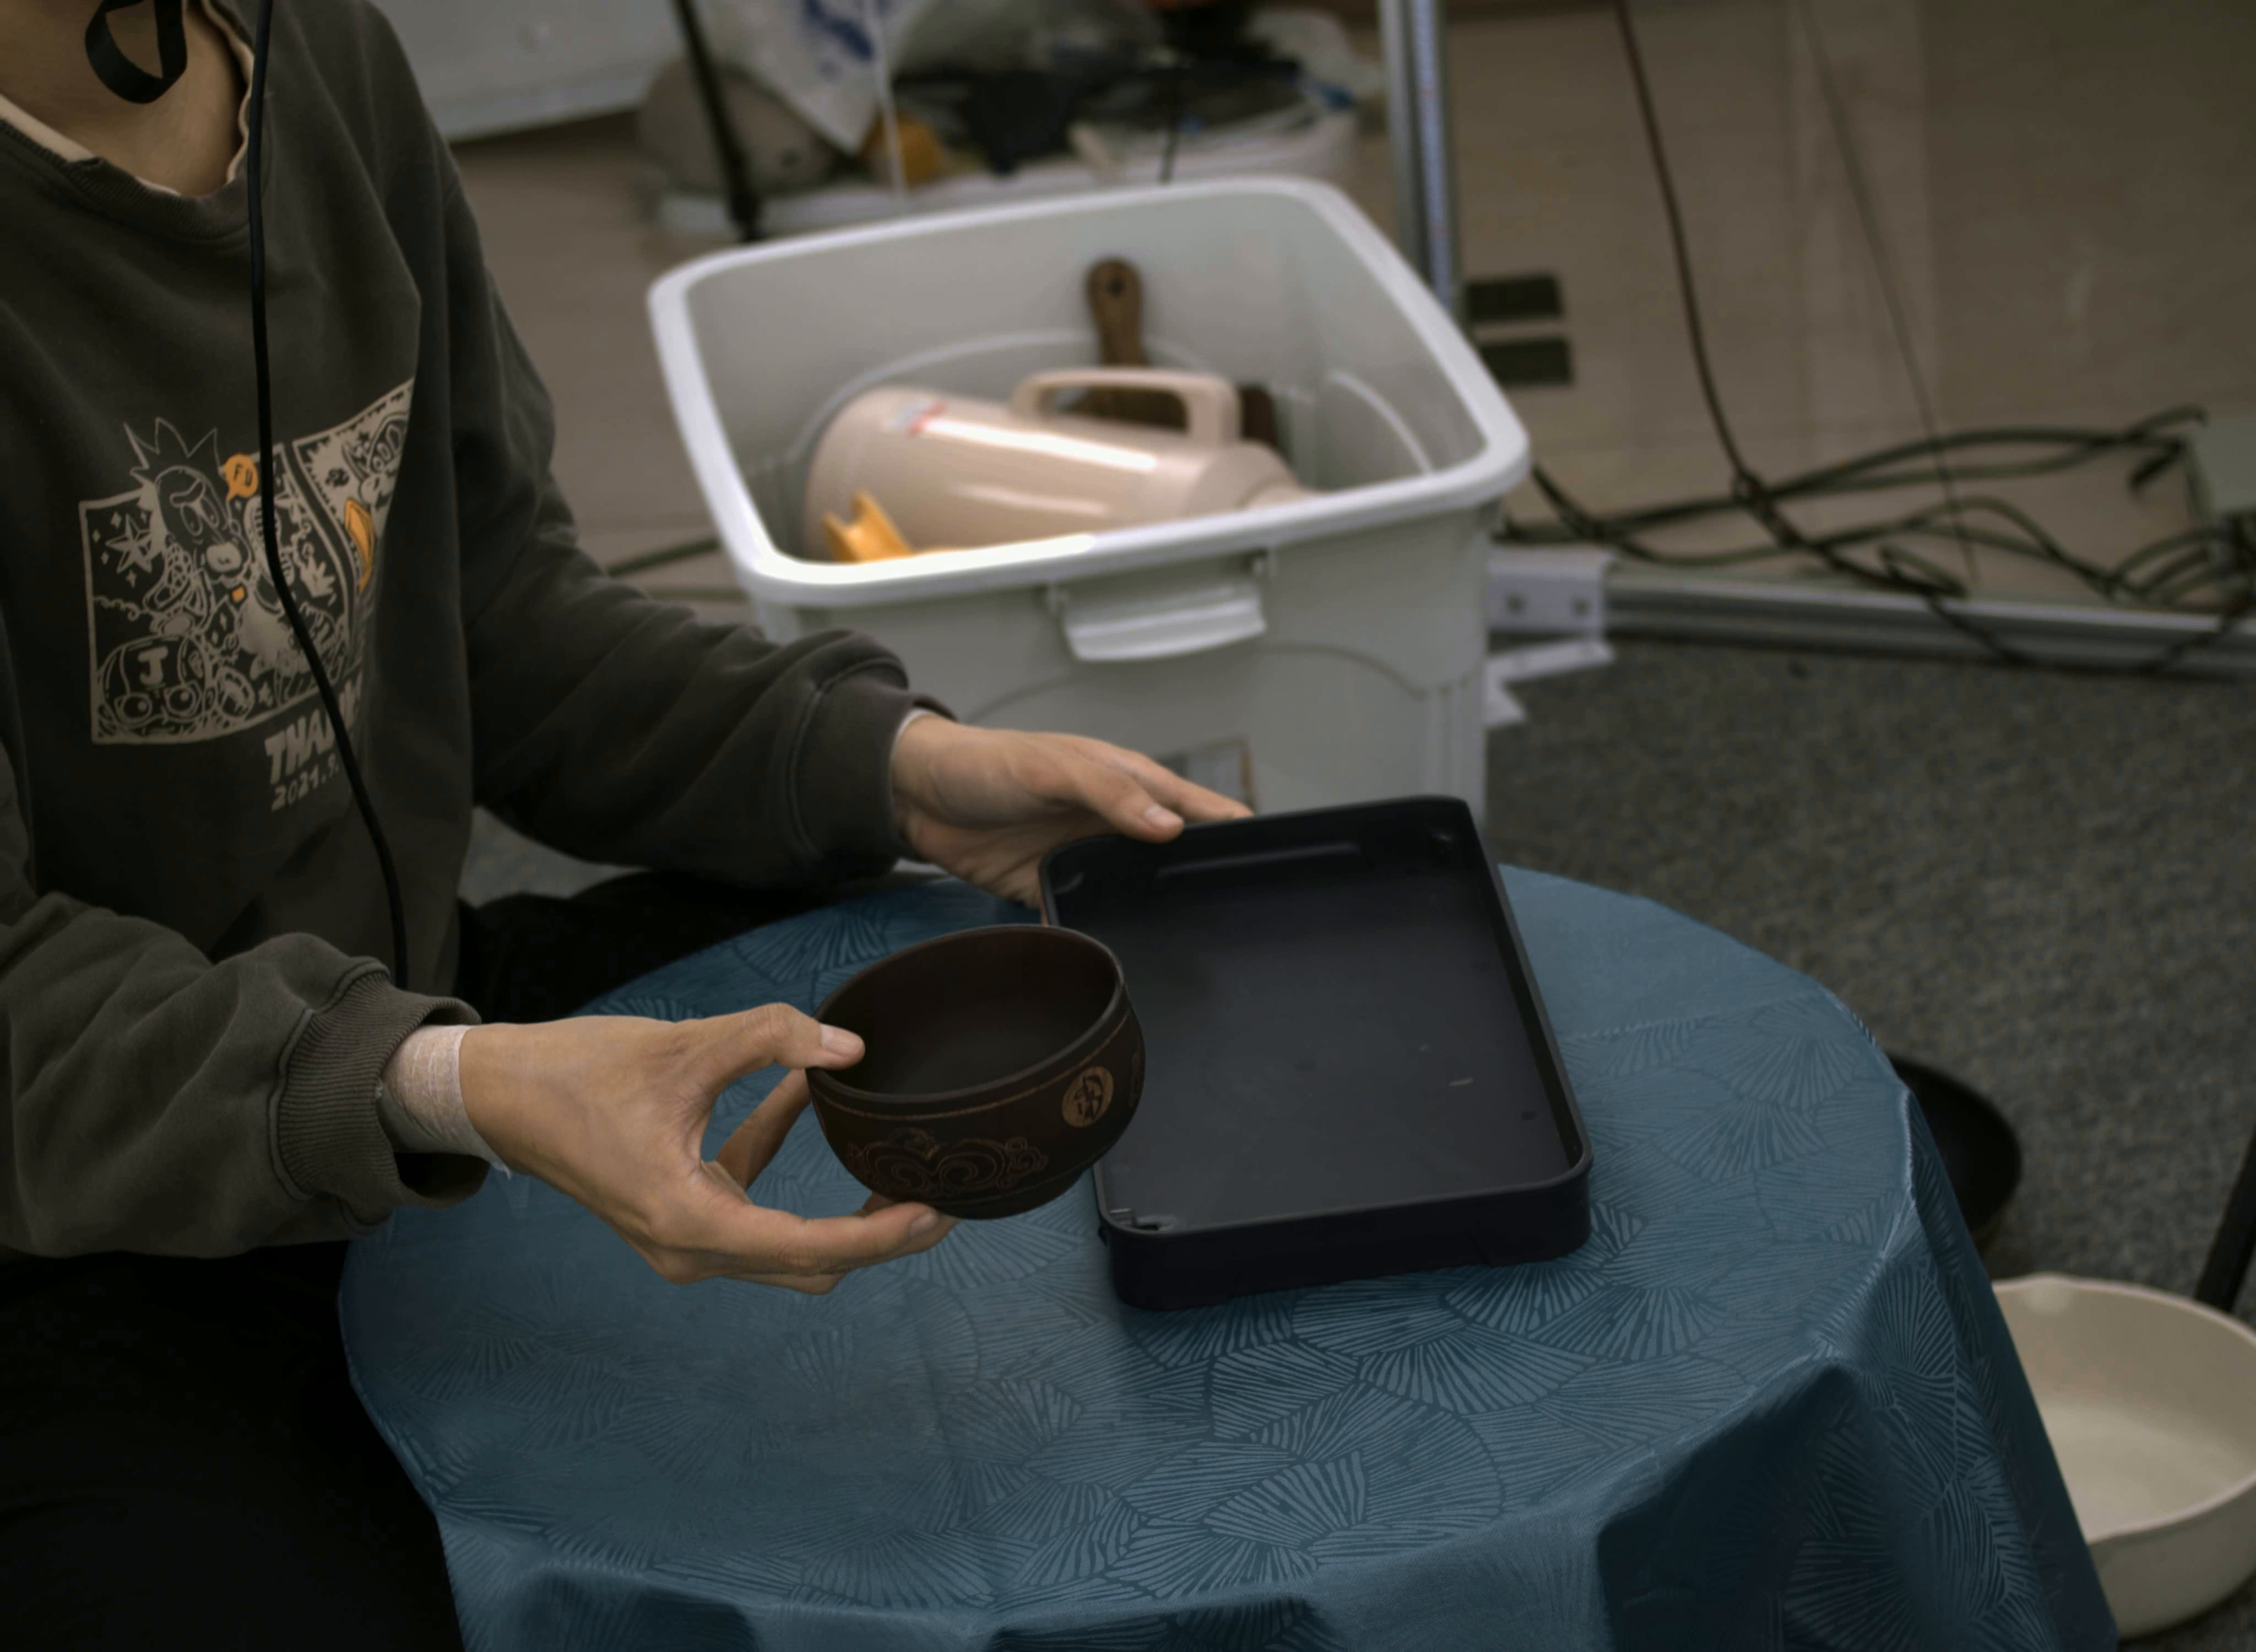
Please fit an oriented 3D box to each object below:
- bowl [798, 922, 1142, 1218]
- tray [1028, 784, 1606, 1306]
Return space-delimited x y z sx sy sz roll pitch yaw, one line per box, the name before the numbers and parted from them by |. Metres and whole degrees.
bowl | -0.051 0.092 1.963 0.118 0.071 0.116 -12 27 7
tray | 0.068 0.079 2.196 0.184 0.037 0.313 -9 28 -4
